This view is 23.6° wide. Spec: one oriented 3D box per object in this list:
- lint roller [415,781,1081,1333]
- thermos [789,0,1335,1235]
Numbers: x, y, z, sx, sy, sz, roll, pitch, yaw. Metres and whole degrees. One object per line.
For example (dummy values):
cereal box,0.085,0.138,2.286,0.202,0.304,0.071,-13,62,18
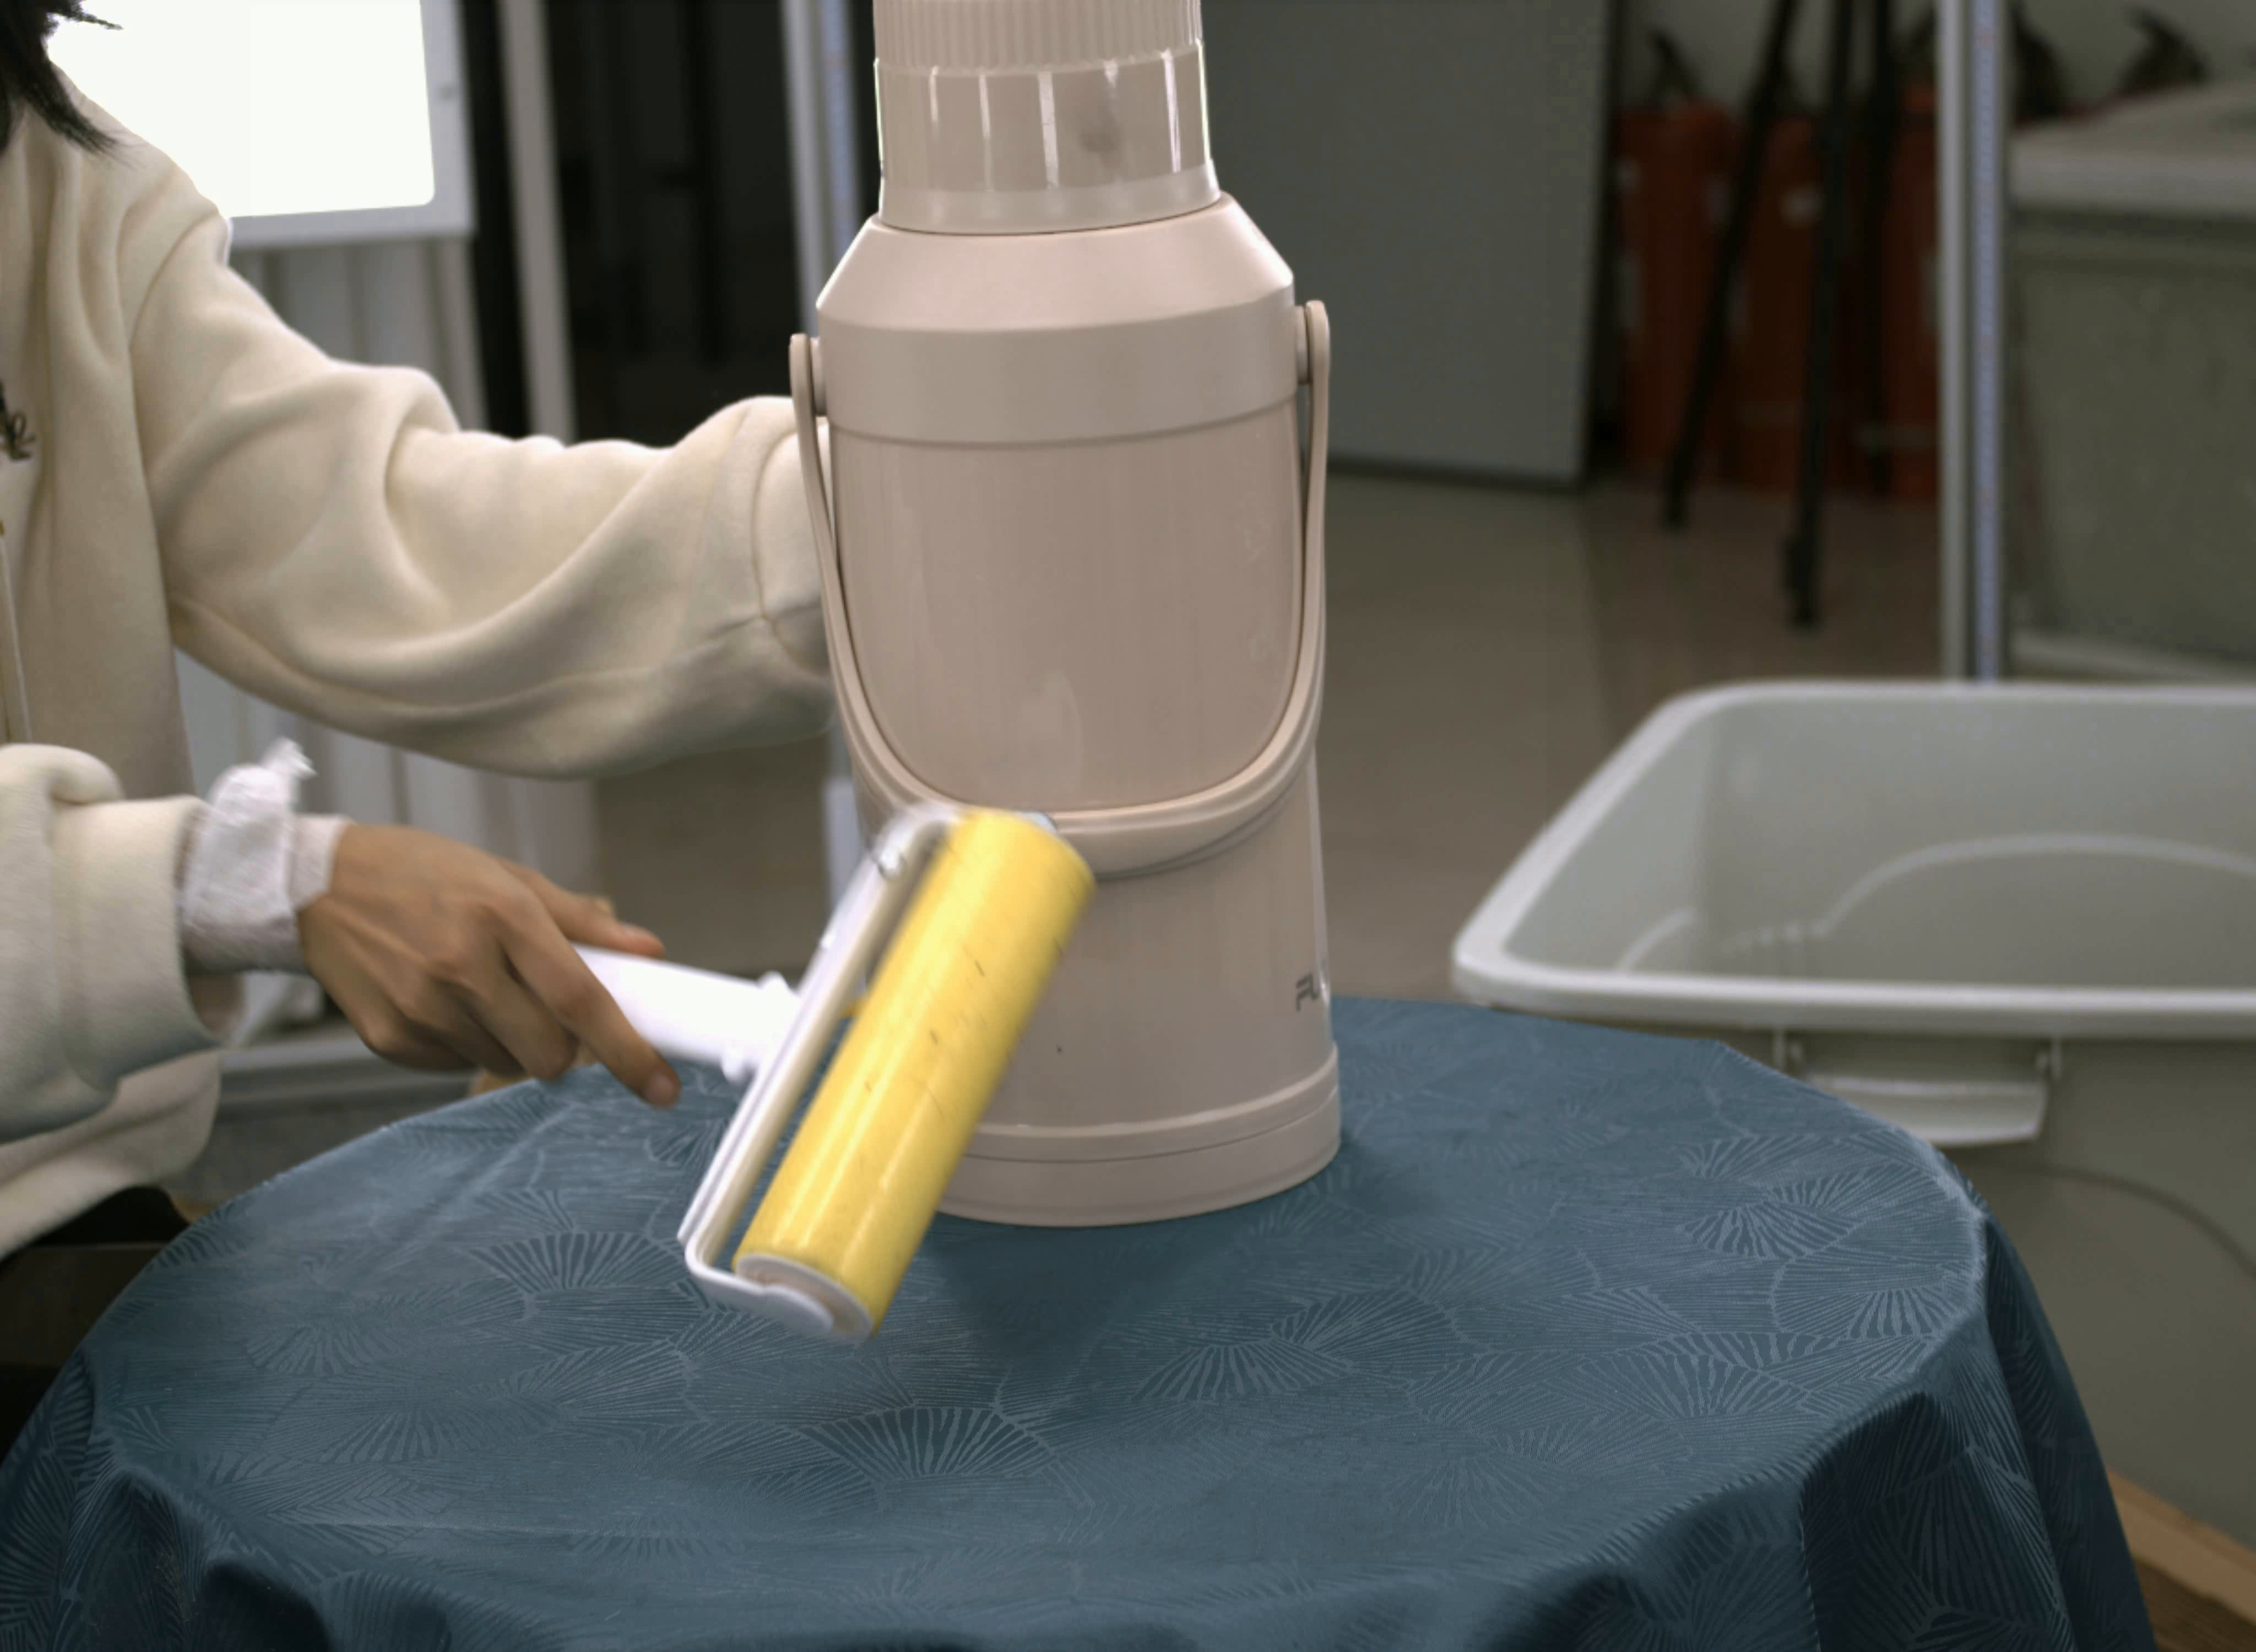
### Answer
lint roller,-0.129,0.049,1.615,0.191,0.175,0.051,16,-26,15
thermos,-0.018,-0.085,1.778,0.173,0.411,0.207,-4,13,-1
